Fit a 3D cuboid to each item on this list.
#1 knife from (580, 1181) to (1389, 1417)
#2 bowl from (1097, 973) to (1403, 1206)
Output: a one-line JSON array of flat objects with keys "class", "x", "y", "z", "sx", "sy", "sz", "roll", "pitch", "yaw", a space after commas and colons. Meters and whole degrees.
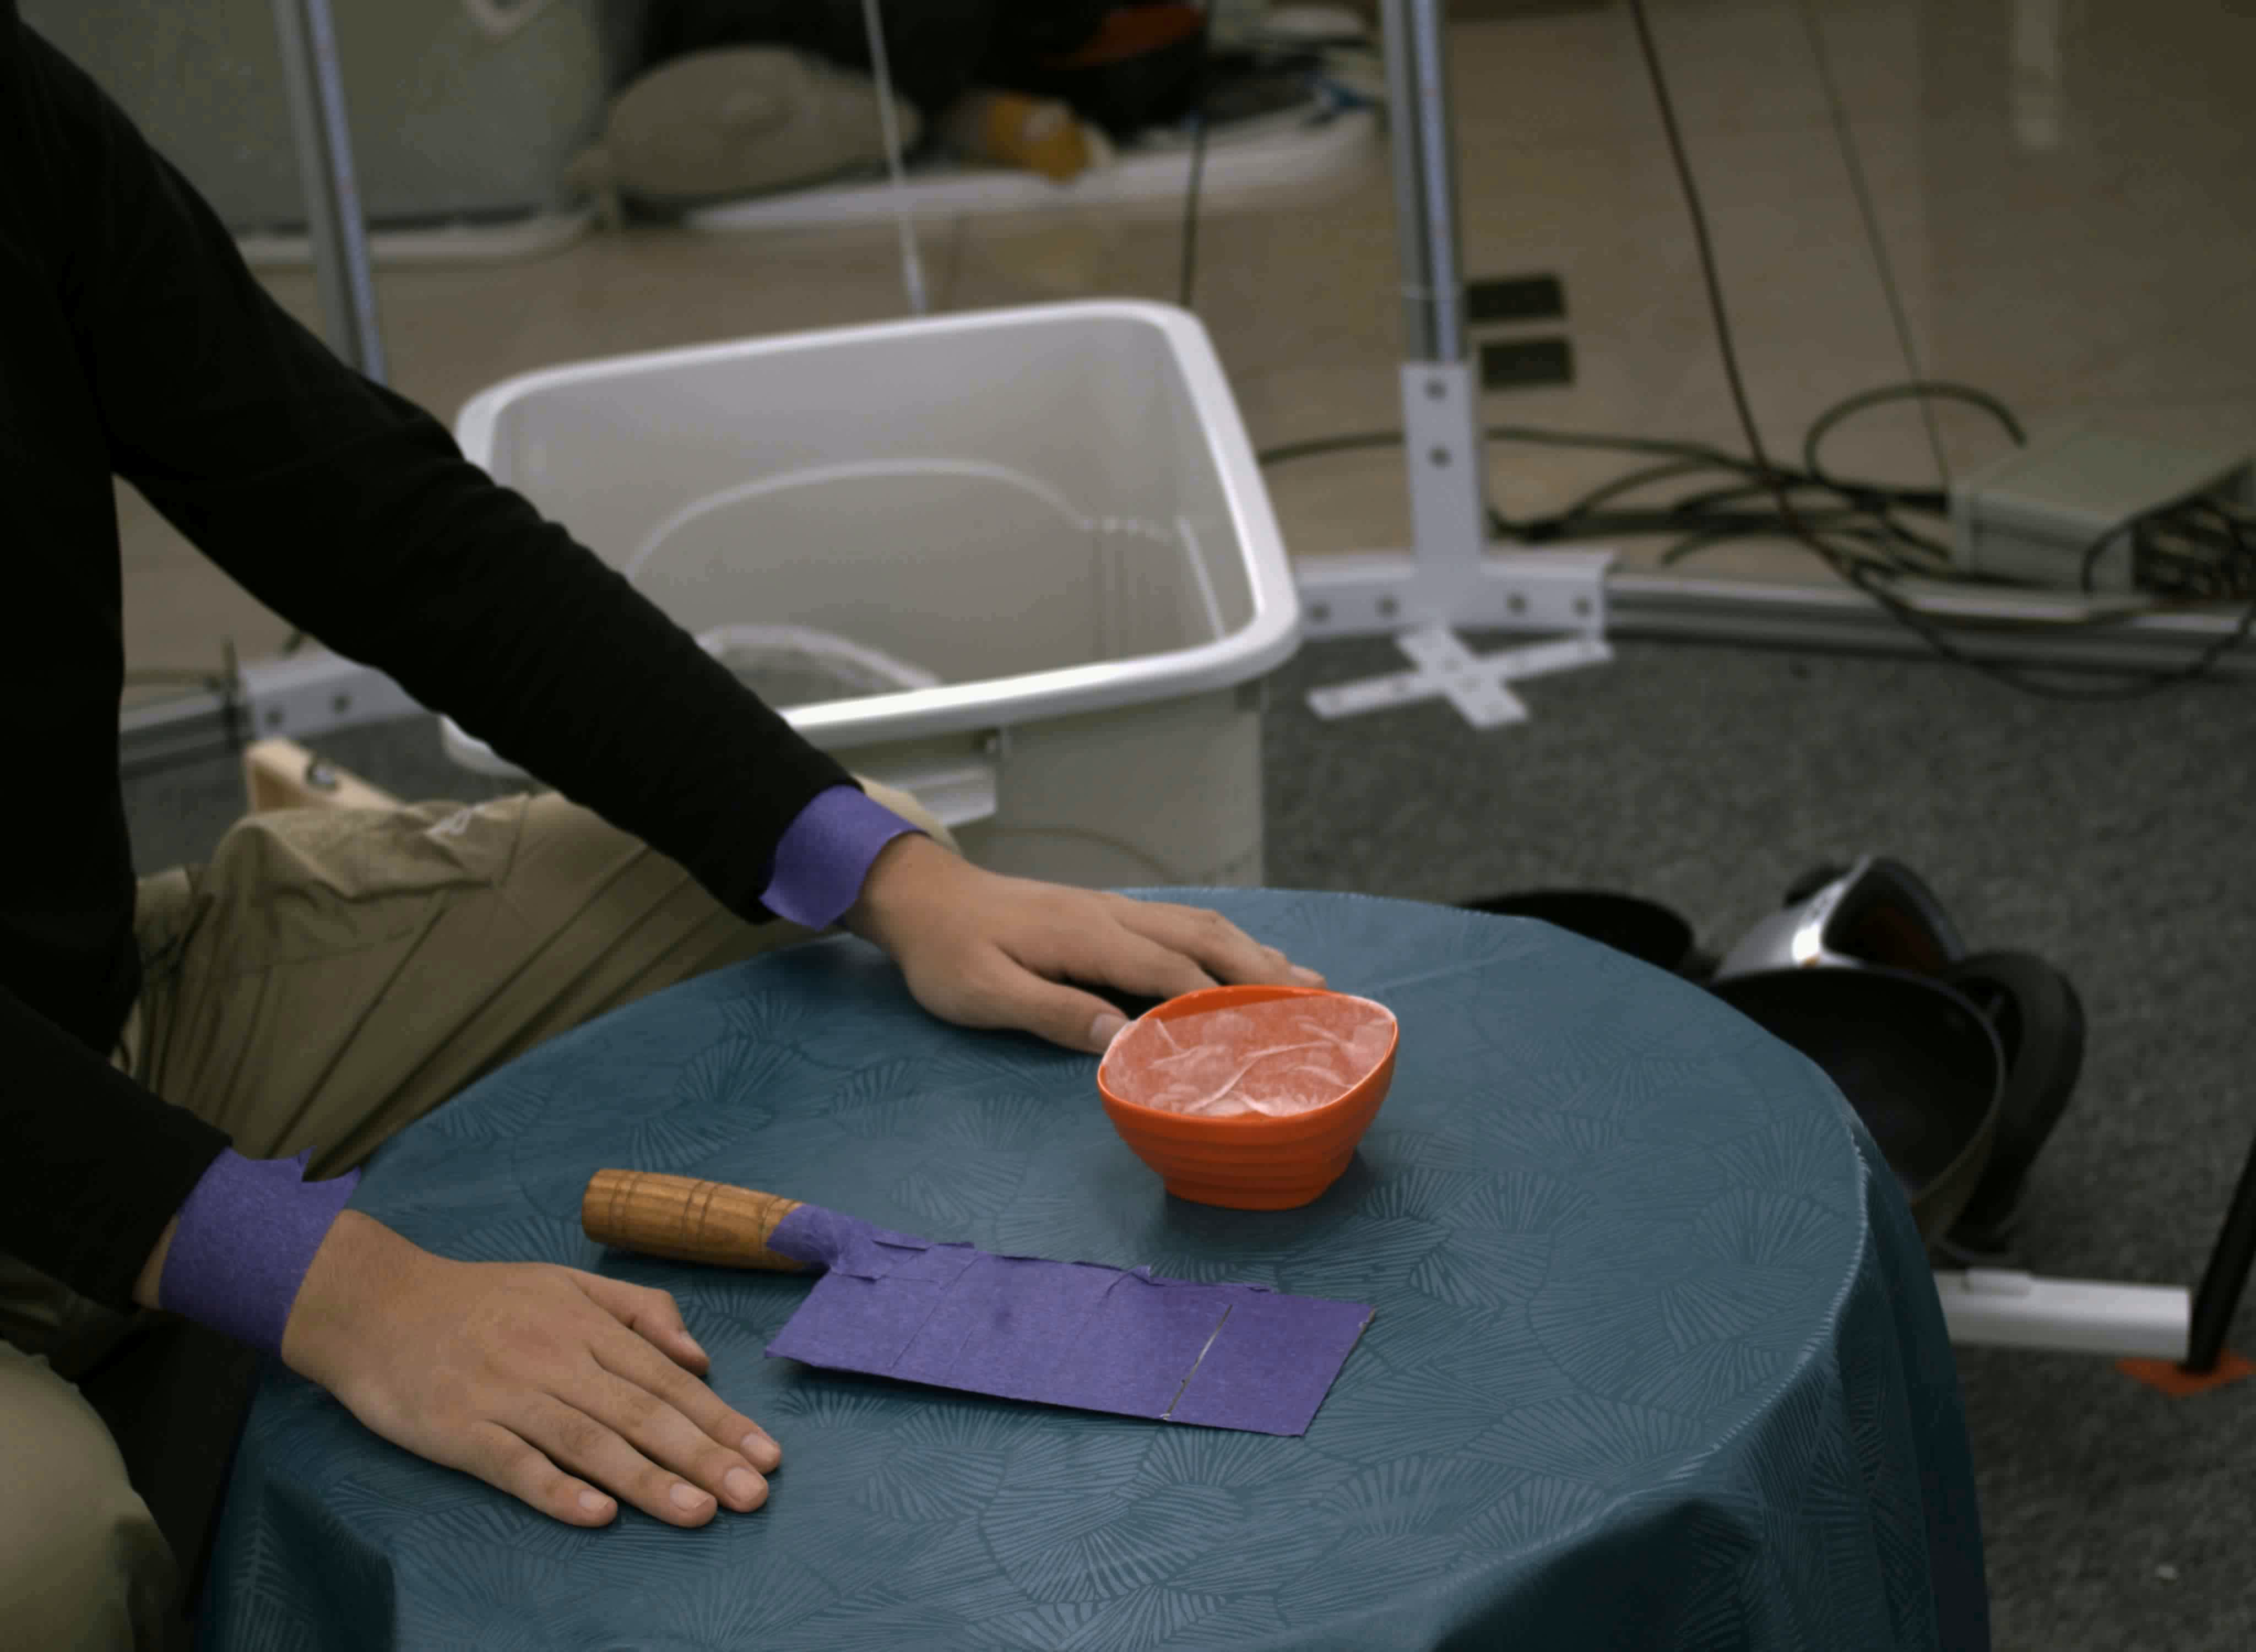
[{"class": "knife", "x": -0.067, "y": 0.172, "z": 2.065, "sx": 0.314, "sy": 0.033, "sz": 0.102, "roll": 4, "pitch": 27, "yaw": 21}, {"class": "bowl", "x": 0.048, "y": 0.104, "z": 2.145, "sx": 0.119, "sy": 0.052, "sz": 0.117, "roll": -3, "pitch": 28, "yaw": 2}]
